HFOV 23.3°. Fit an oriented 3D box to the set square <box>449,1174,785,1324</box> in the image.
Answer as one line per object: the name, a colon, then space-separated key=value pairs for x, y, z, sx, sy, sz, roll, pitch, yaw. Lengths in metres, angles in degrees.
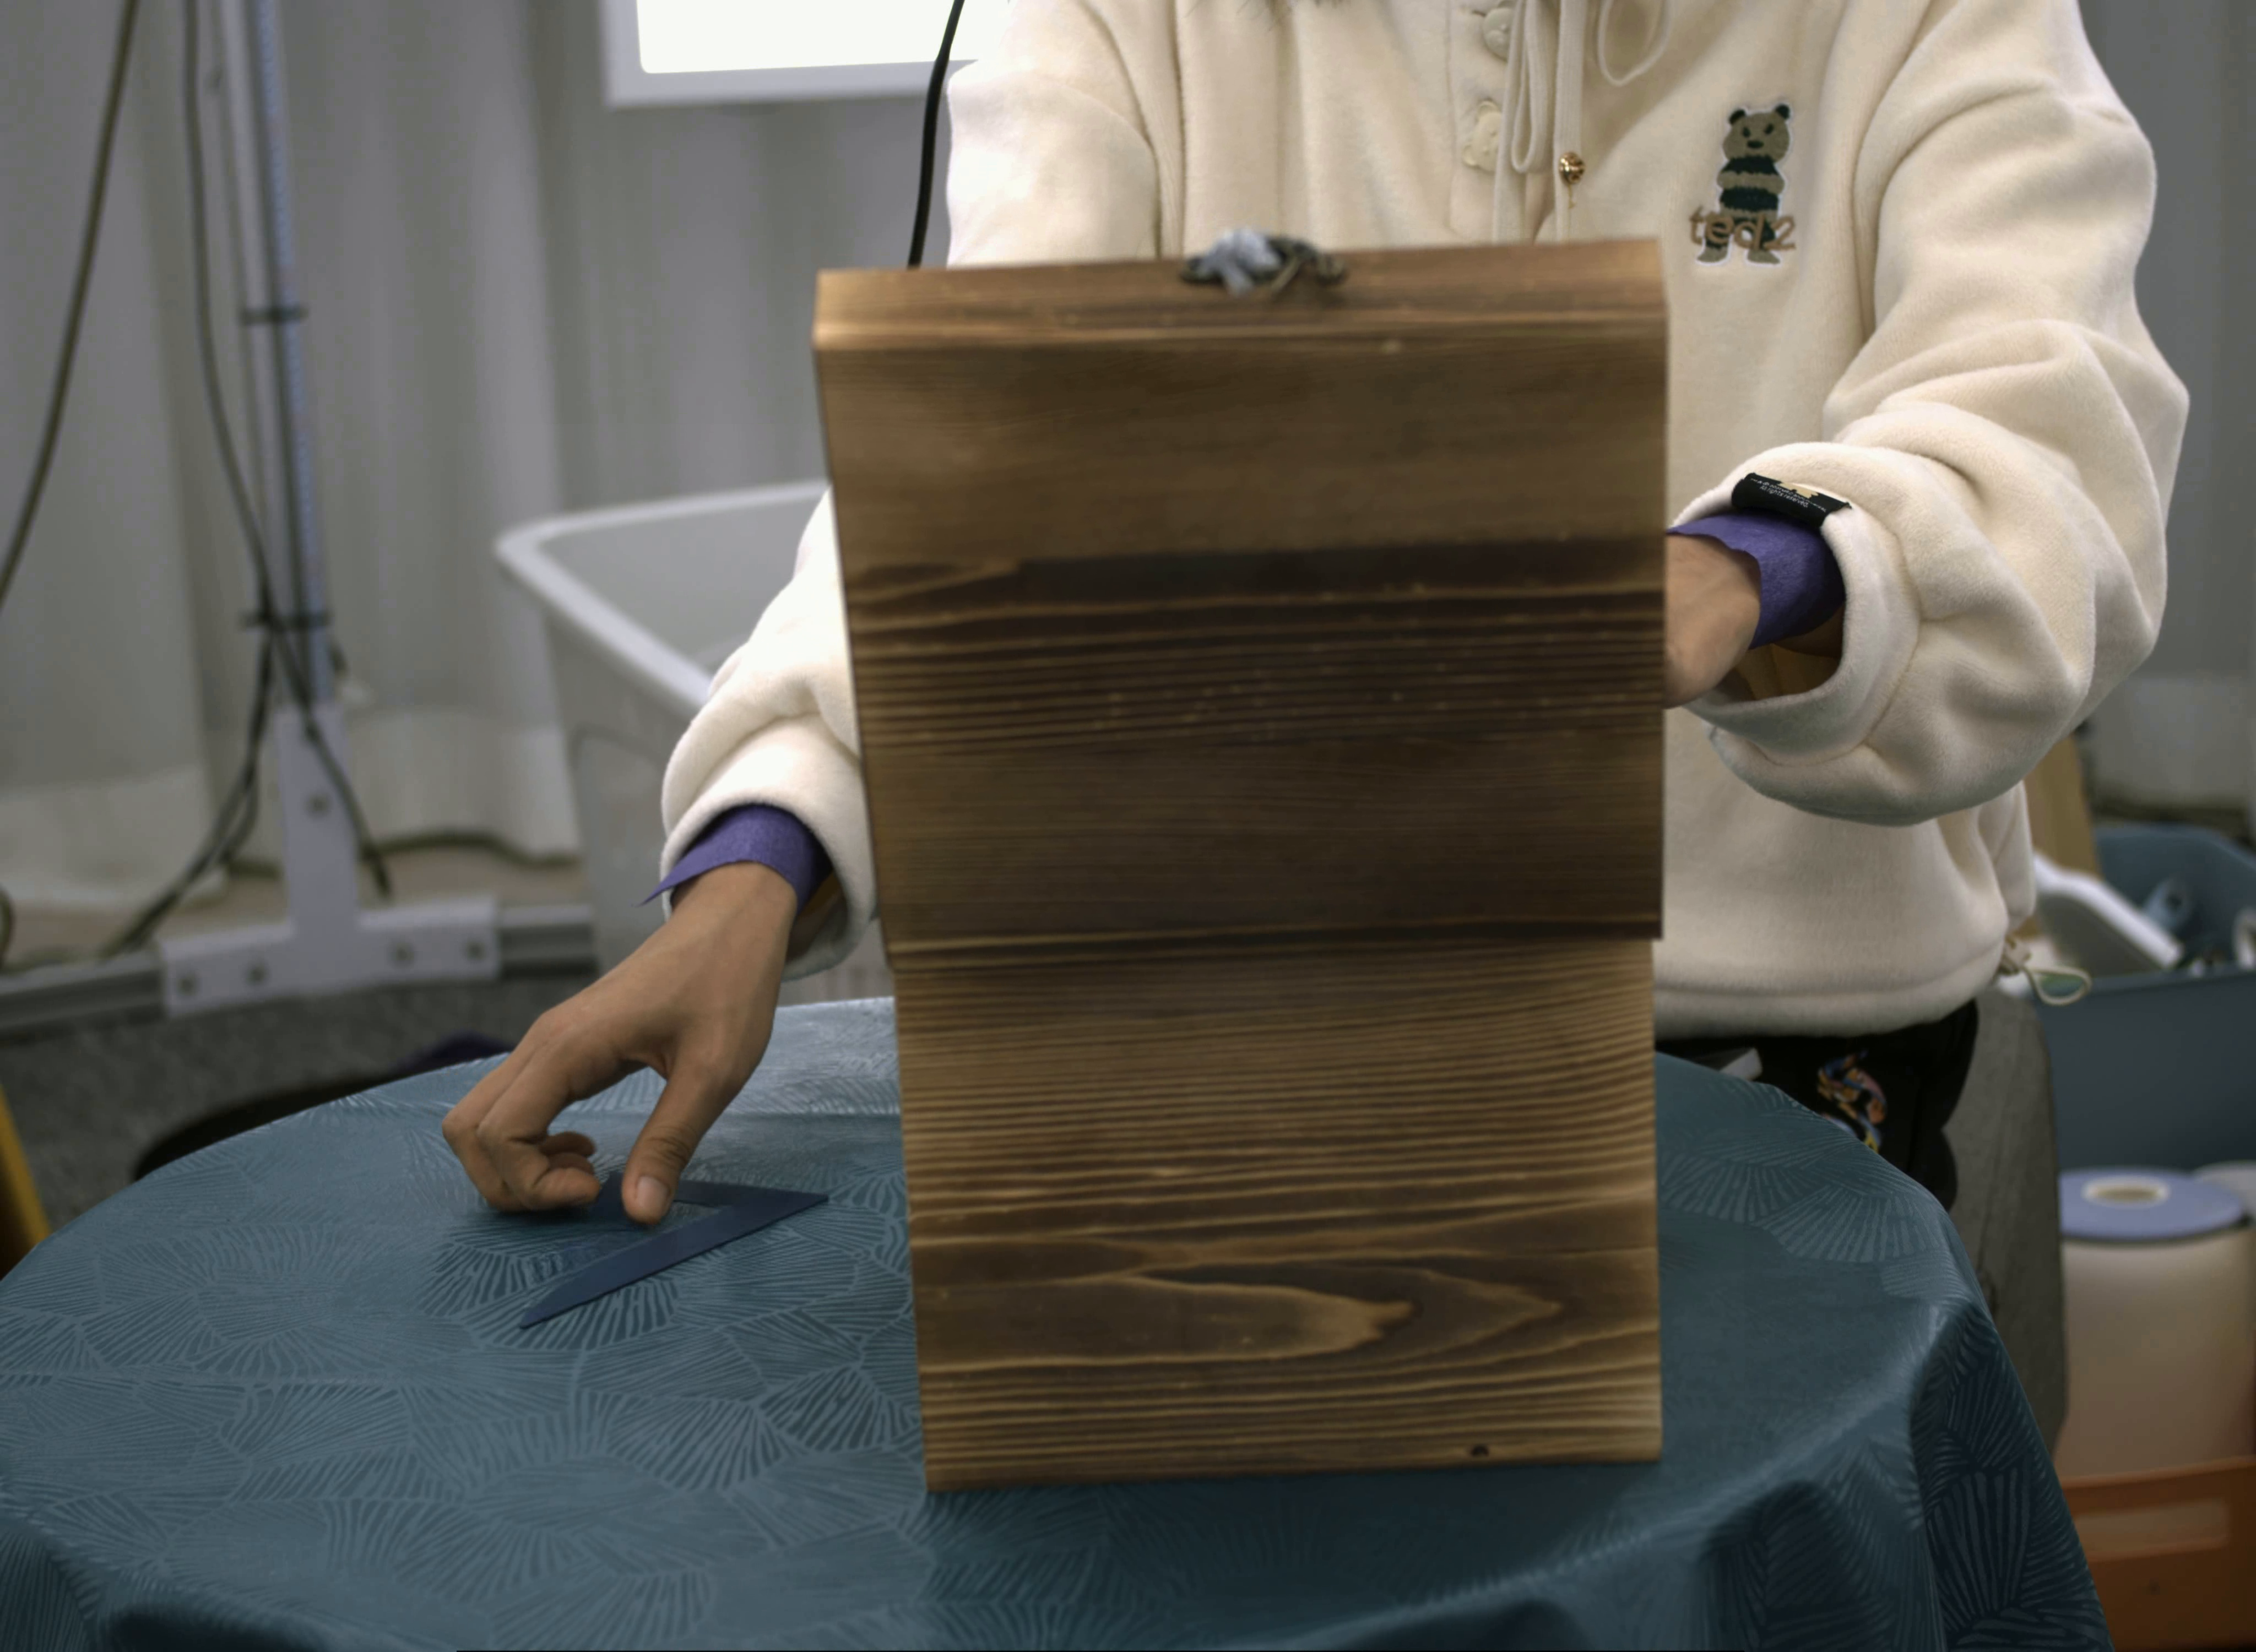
set square: x=-0.171 y=0.126 z=1.683 sx=0.061 sy=0.006 sz=0.132 roll=21 pitch=26 yaw=37

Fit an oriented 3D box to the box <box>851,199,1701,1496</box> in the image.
box: x=0.039 y=-0.007 z=1.475 sx=0.208 sy=0.373 sz=0.324 roll=-2 pitch=16 yaw=1
